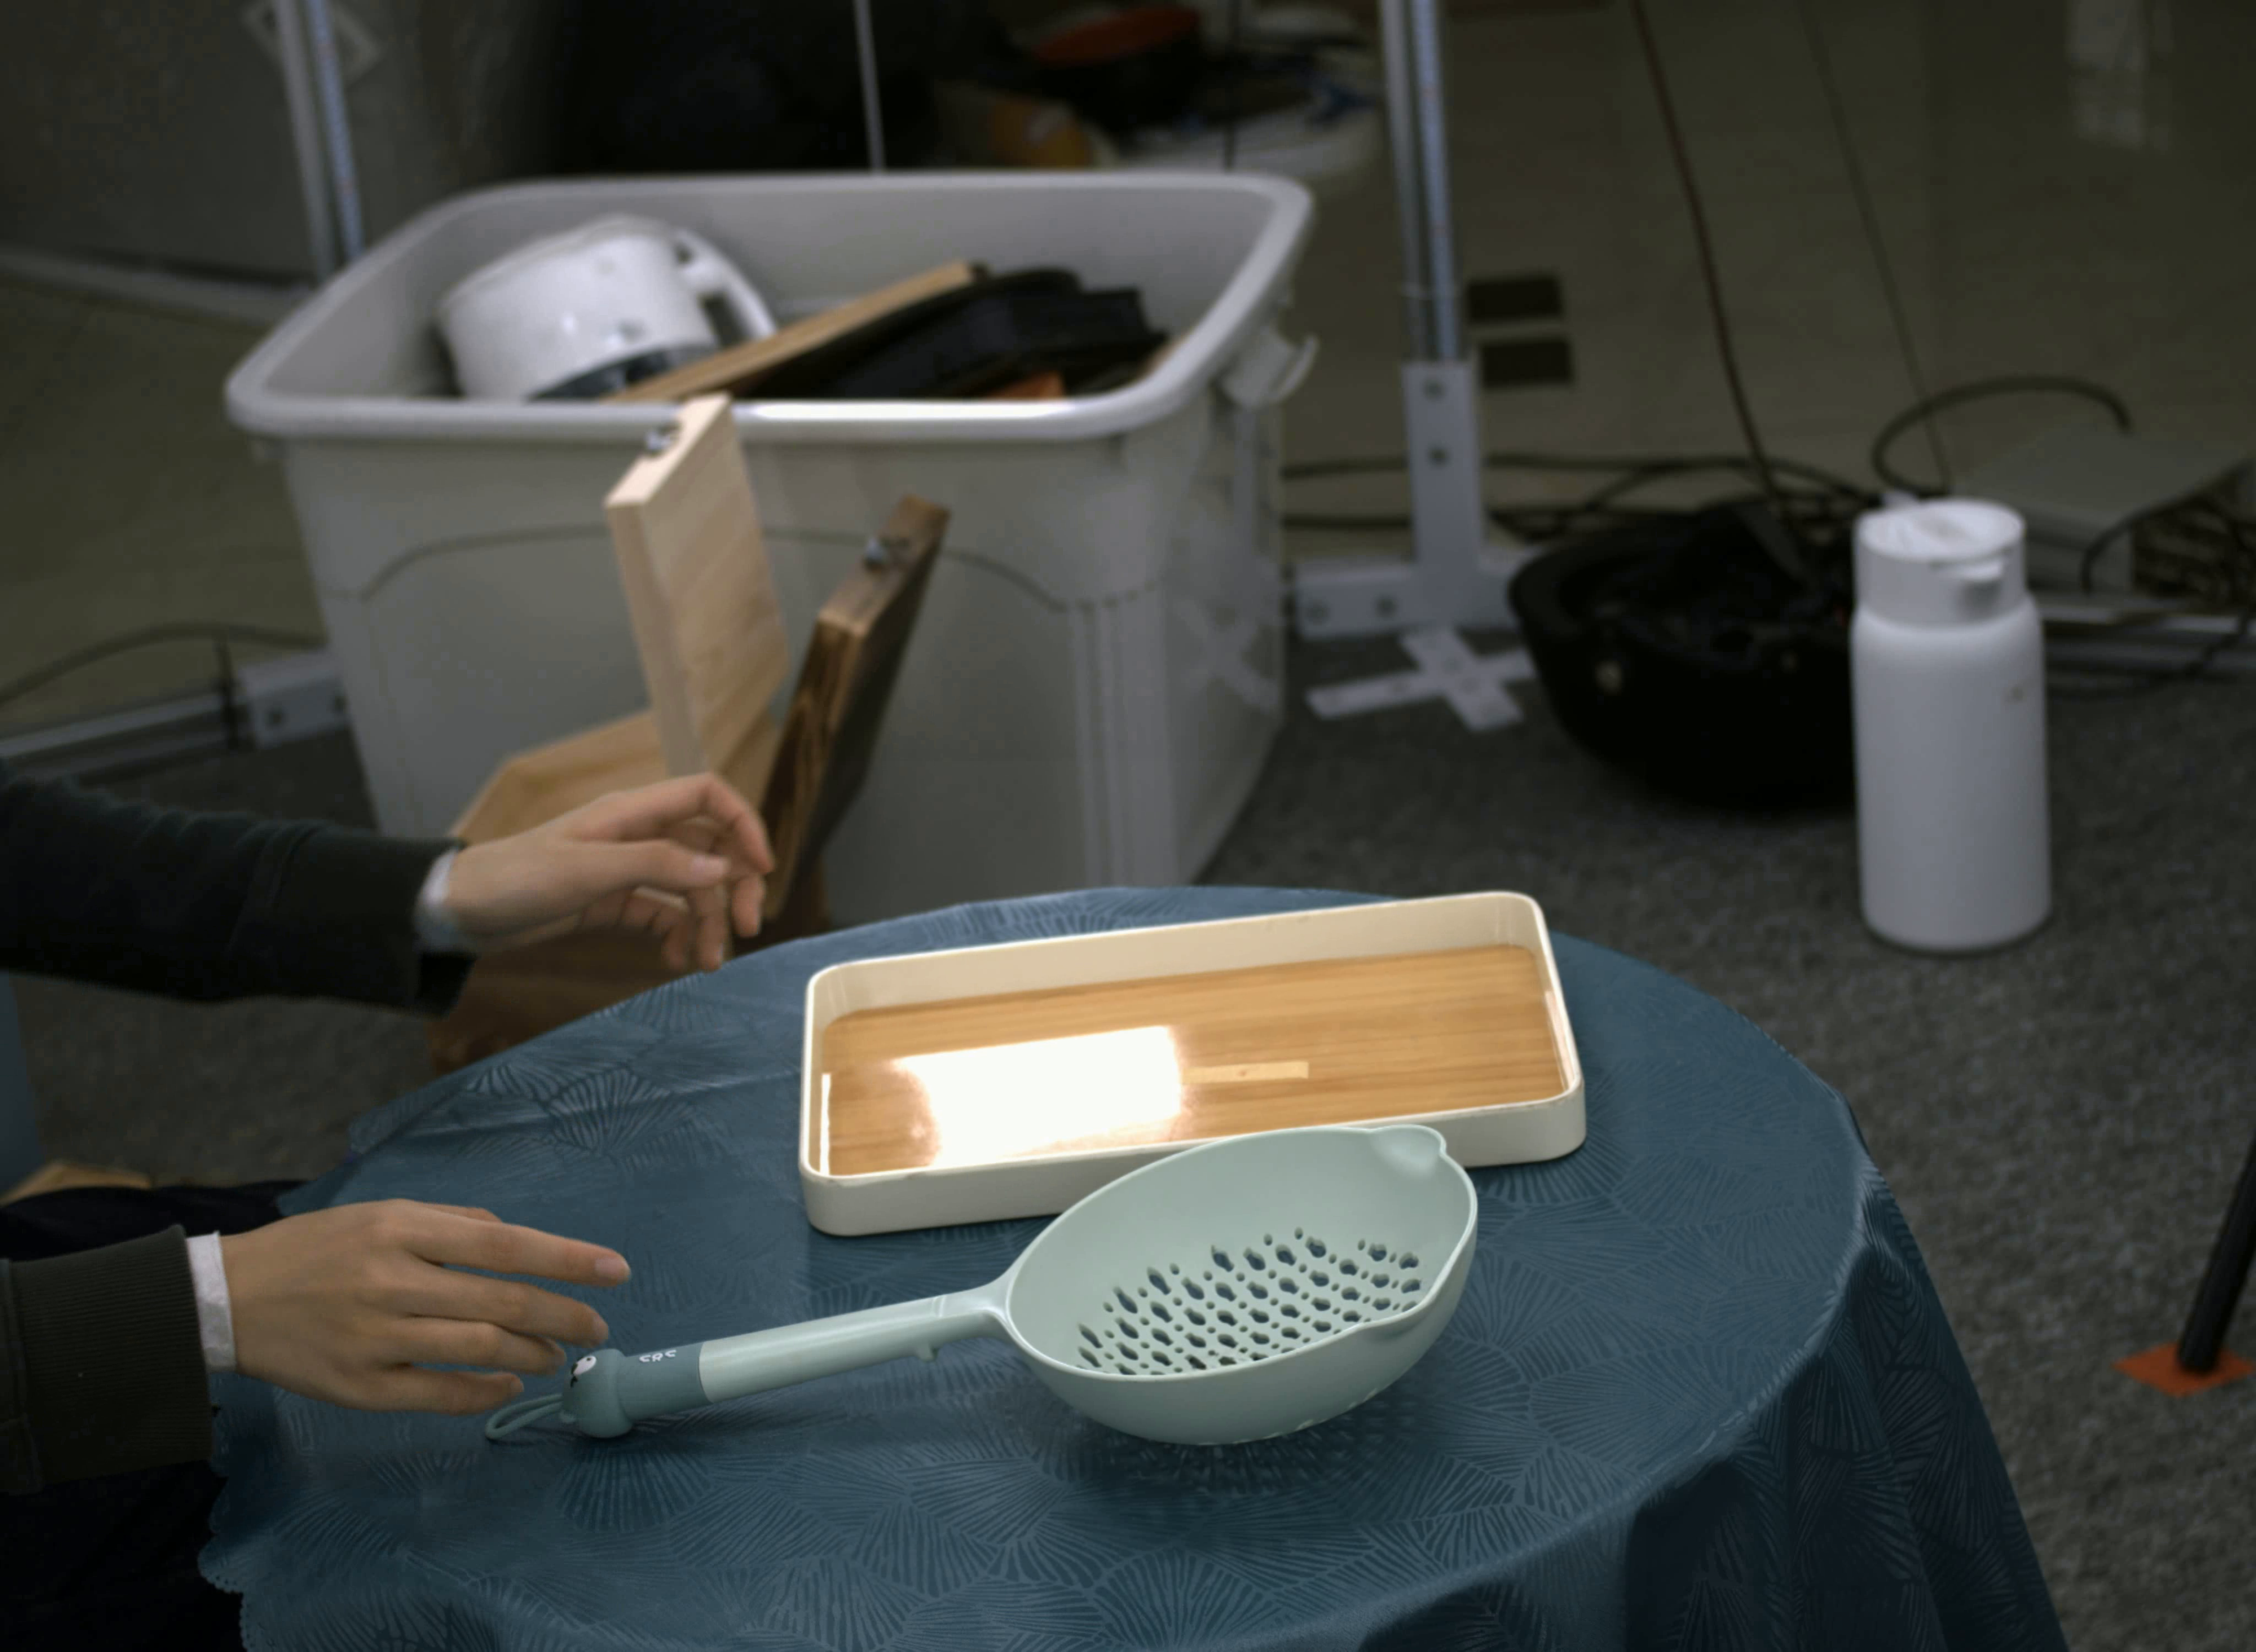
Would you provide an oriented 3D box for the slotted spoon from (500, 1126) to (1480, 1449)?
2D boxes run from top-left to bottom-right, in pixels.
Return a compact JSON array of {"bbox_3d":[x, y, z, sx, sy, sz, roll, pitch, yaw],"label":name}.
[{"bbox_3d":[-0.052,0.178,2.005,0.358,0.076,0.167,-3,25,6],"label":"slotted spoon"}]

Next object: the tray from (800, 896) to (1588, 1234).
[{"bbox_3d":[0.023,0.092,2.218,0.300,0.028,0.189,-6,25,1],"label":"tray"}]
